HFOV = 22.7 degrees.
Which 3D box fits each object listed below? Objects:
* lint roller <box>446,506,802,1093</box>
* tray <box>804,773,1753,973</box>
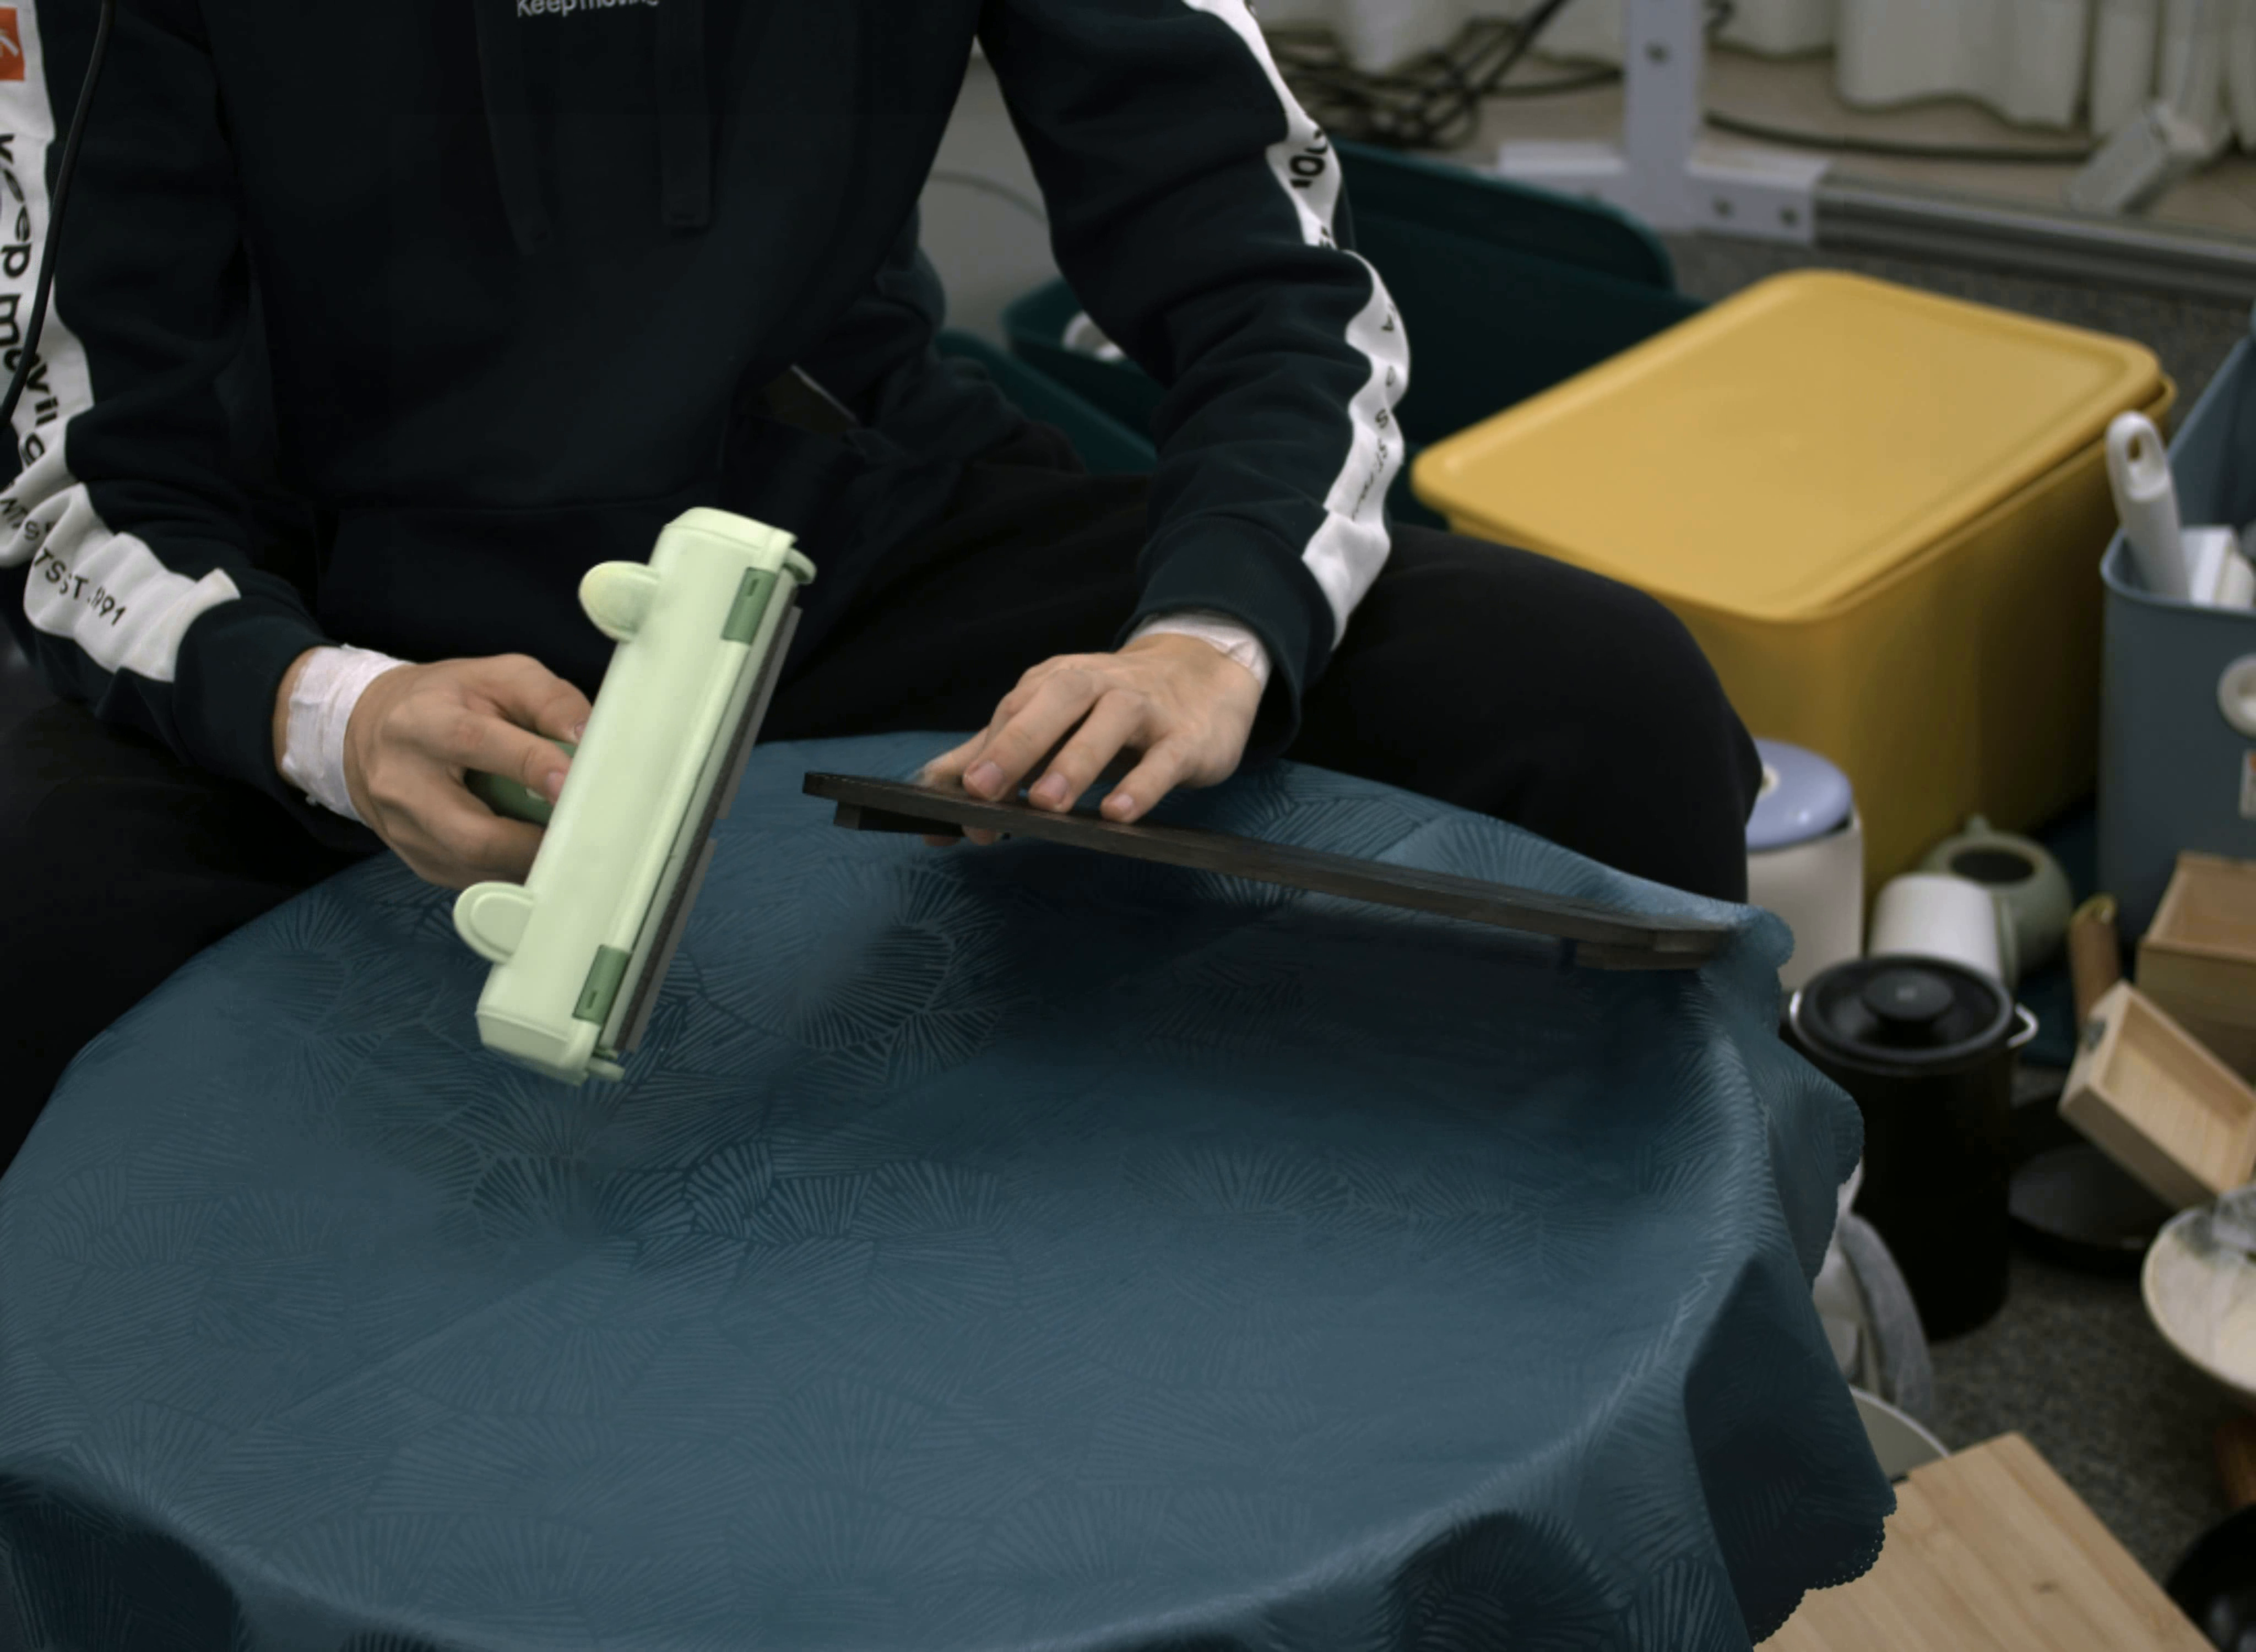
[{"bbox_3d":[-0.202,-0.017,1.916,0.082,0.200,0.182,27,-12,-38],"label":"lint roller"},{"bbox_3d":[0.053,0.018,1.944,0.304,0.019,0.170,10,2,18],"label":"tray"}]
